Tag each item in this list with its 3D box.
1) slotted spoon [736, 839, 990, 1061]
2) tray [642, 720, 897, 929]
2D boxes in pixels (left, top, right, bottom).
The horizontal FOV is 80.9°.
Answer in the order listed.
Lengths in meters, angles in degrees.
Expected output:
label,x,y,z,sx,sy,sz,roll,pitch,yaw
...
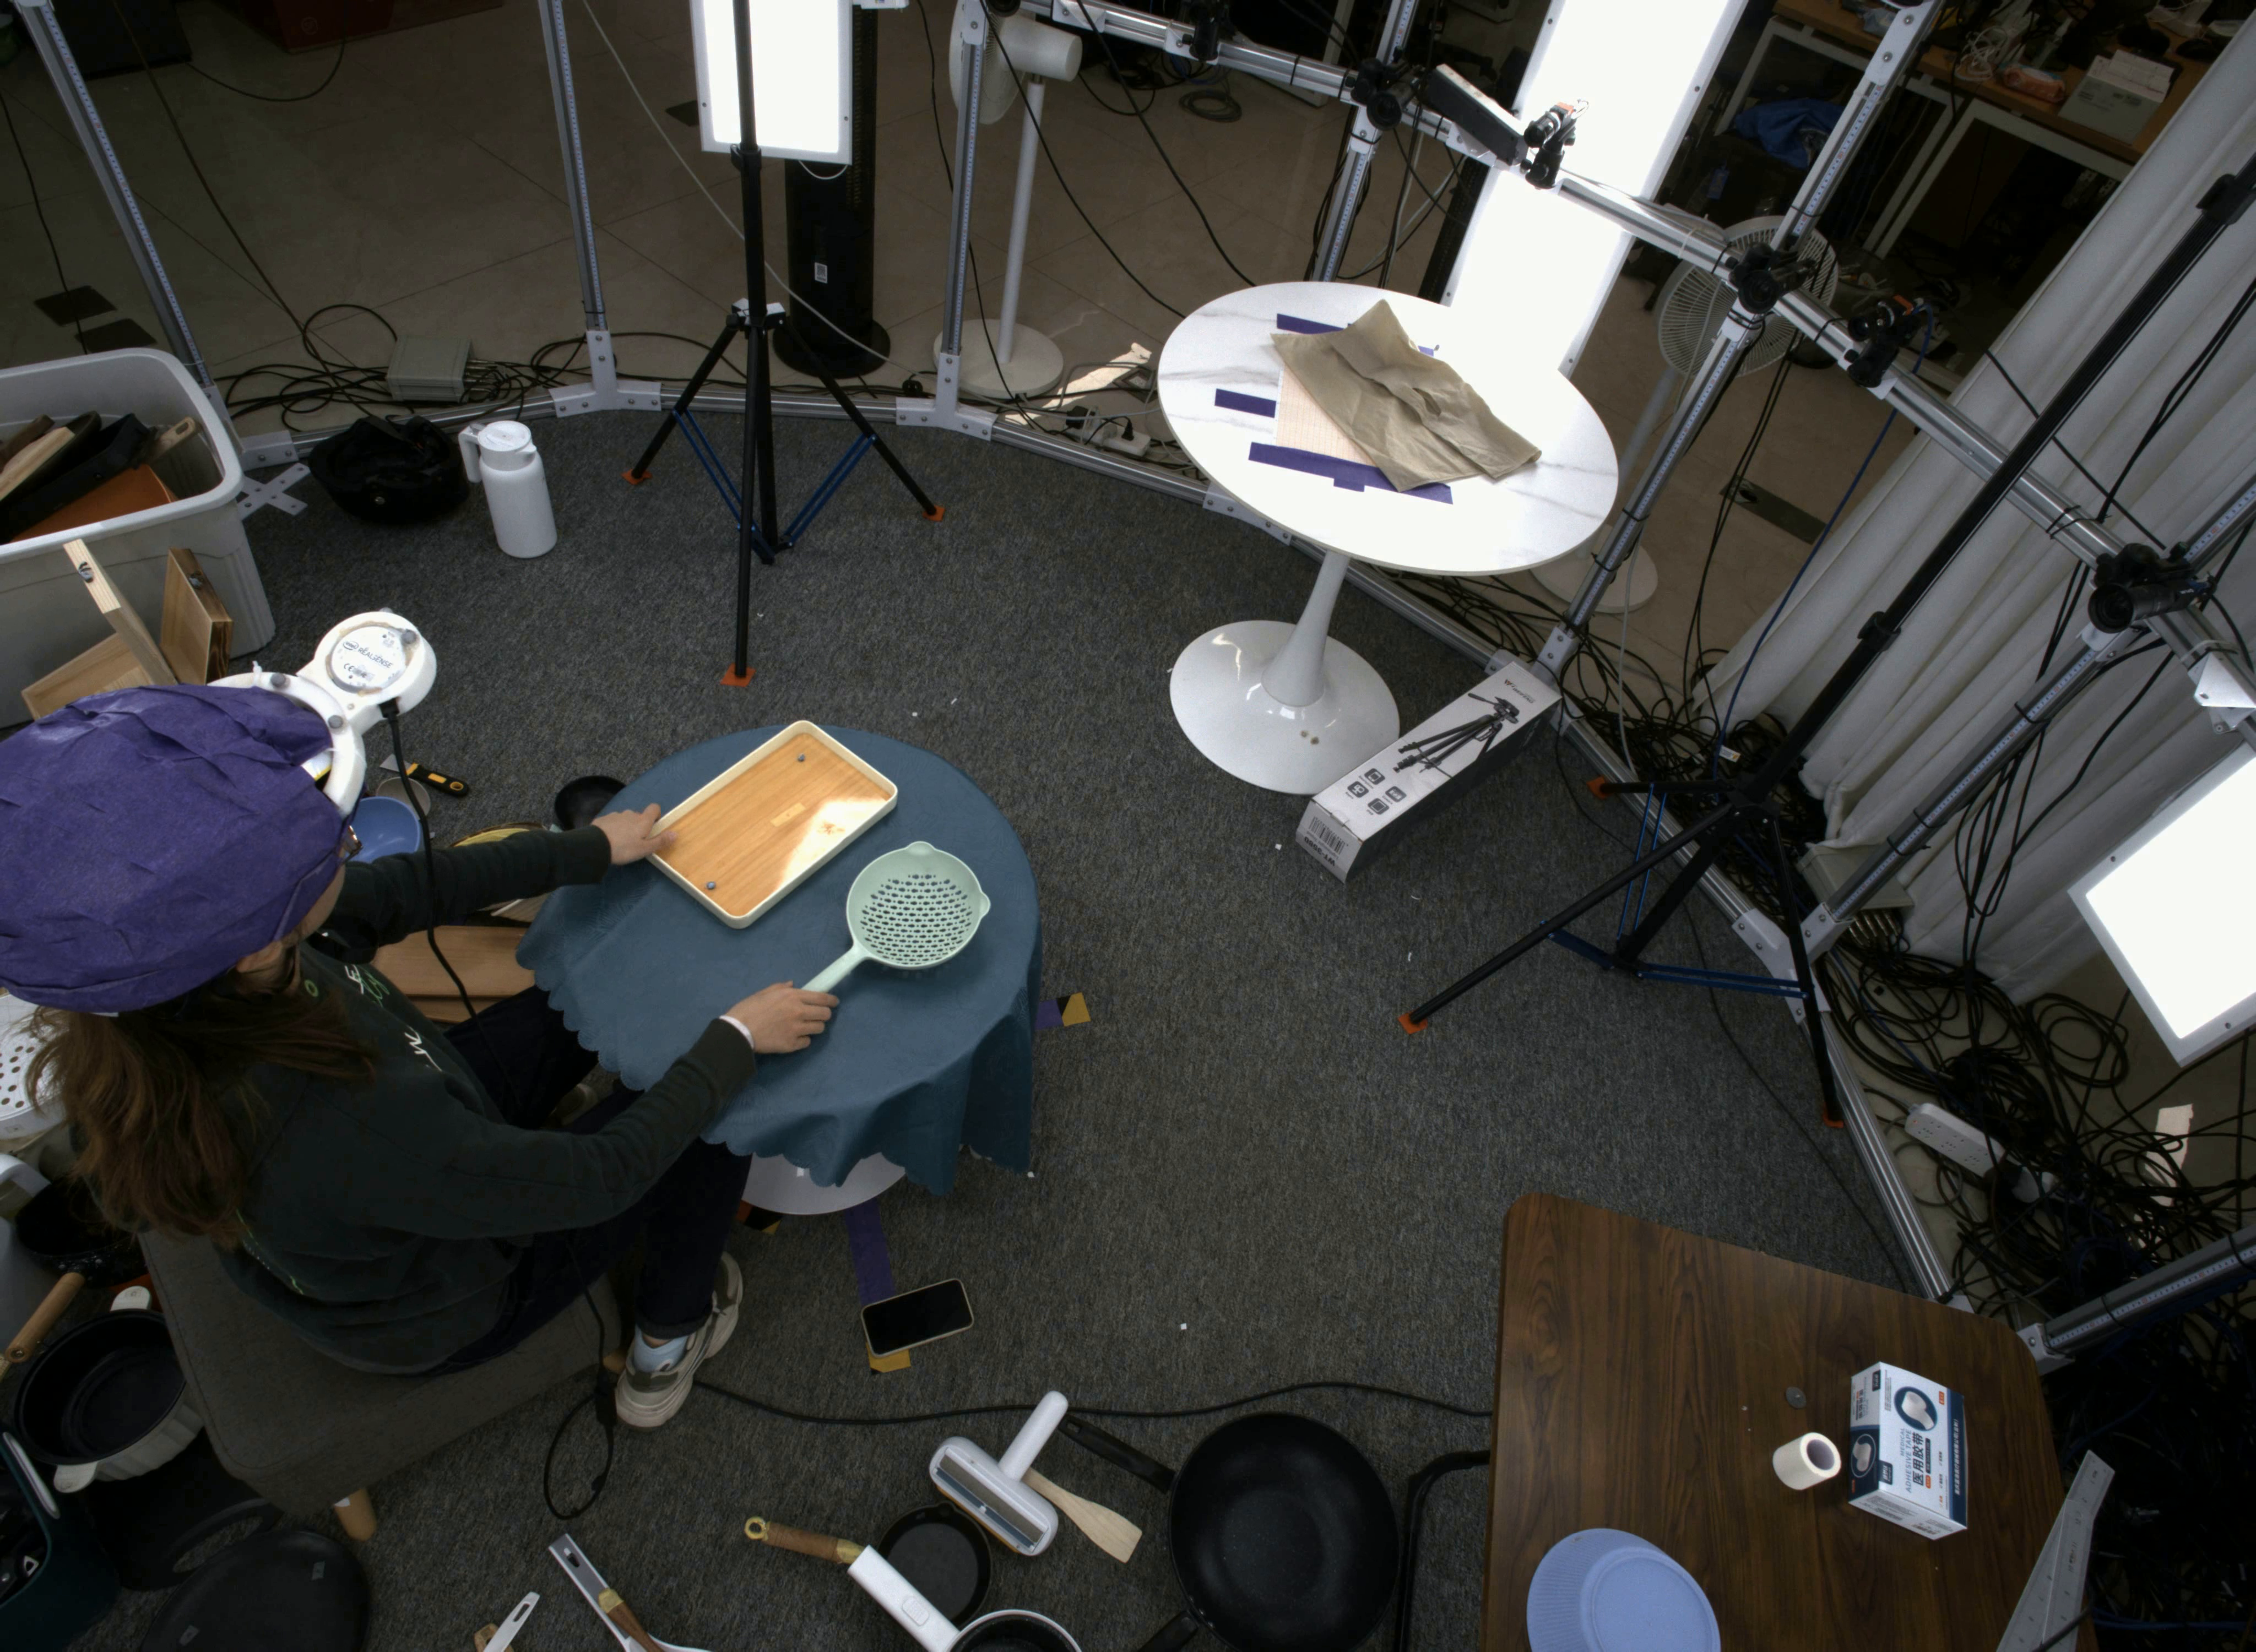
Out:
label,x,y,z,sx,sy,sz,roll,pitch,yaw
slotted spoon,-0.333,0.159,1.592,0.165,0.077,0.359,41,55,18
tray,-0.469,-0.010,1.708,0.188,0.028,0.300,36,53,13
